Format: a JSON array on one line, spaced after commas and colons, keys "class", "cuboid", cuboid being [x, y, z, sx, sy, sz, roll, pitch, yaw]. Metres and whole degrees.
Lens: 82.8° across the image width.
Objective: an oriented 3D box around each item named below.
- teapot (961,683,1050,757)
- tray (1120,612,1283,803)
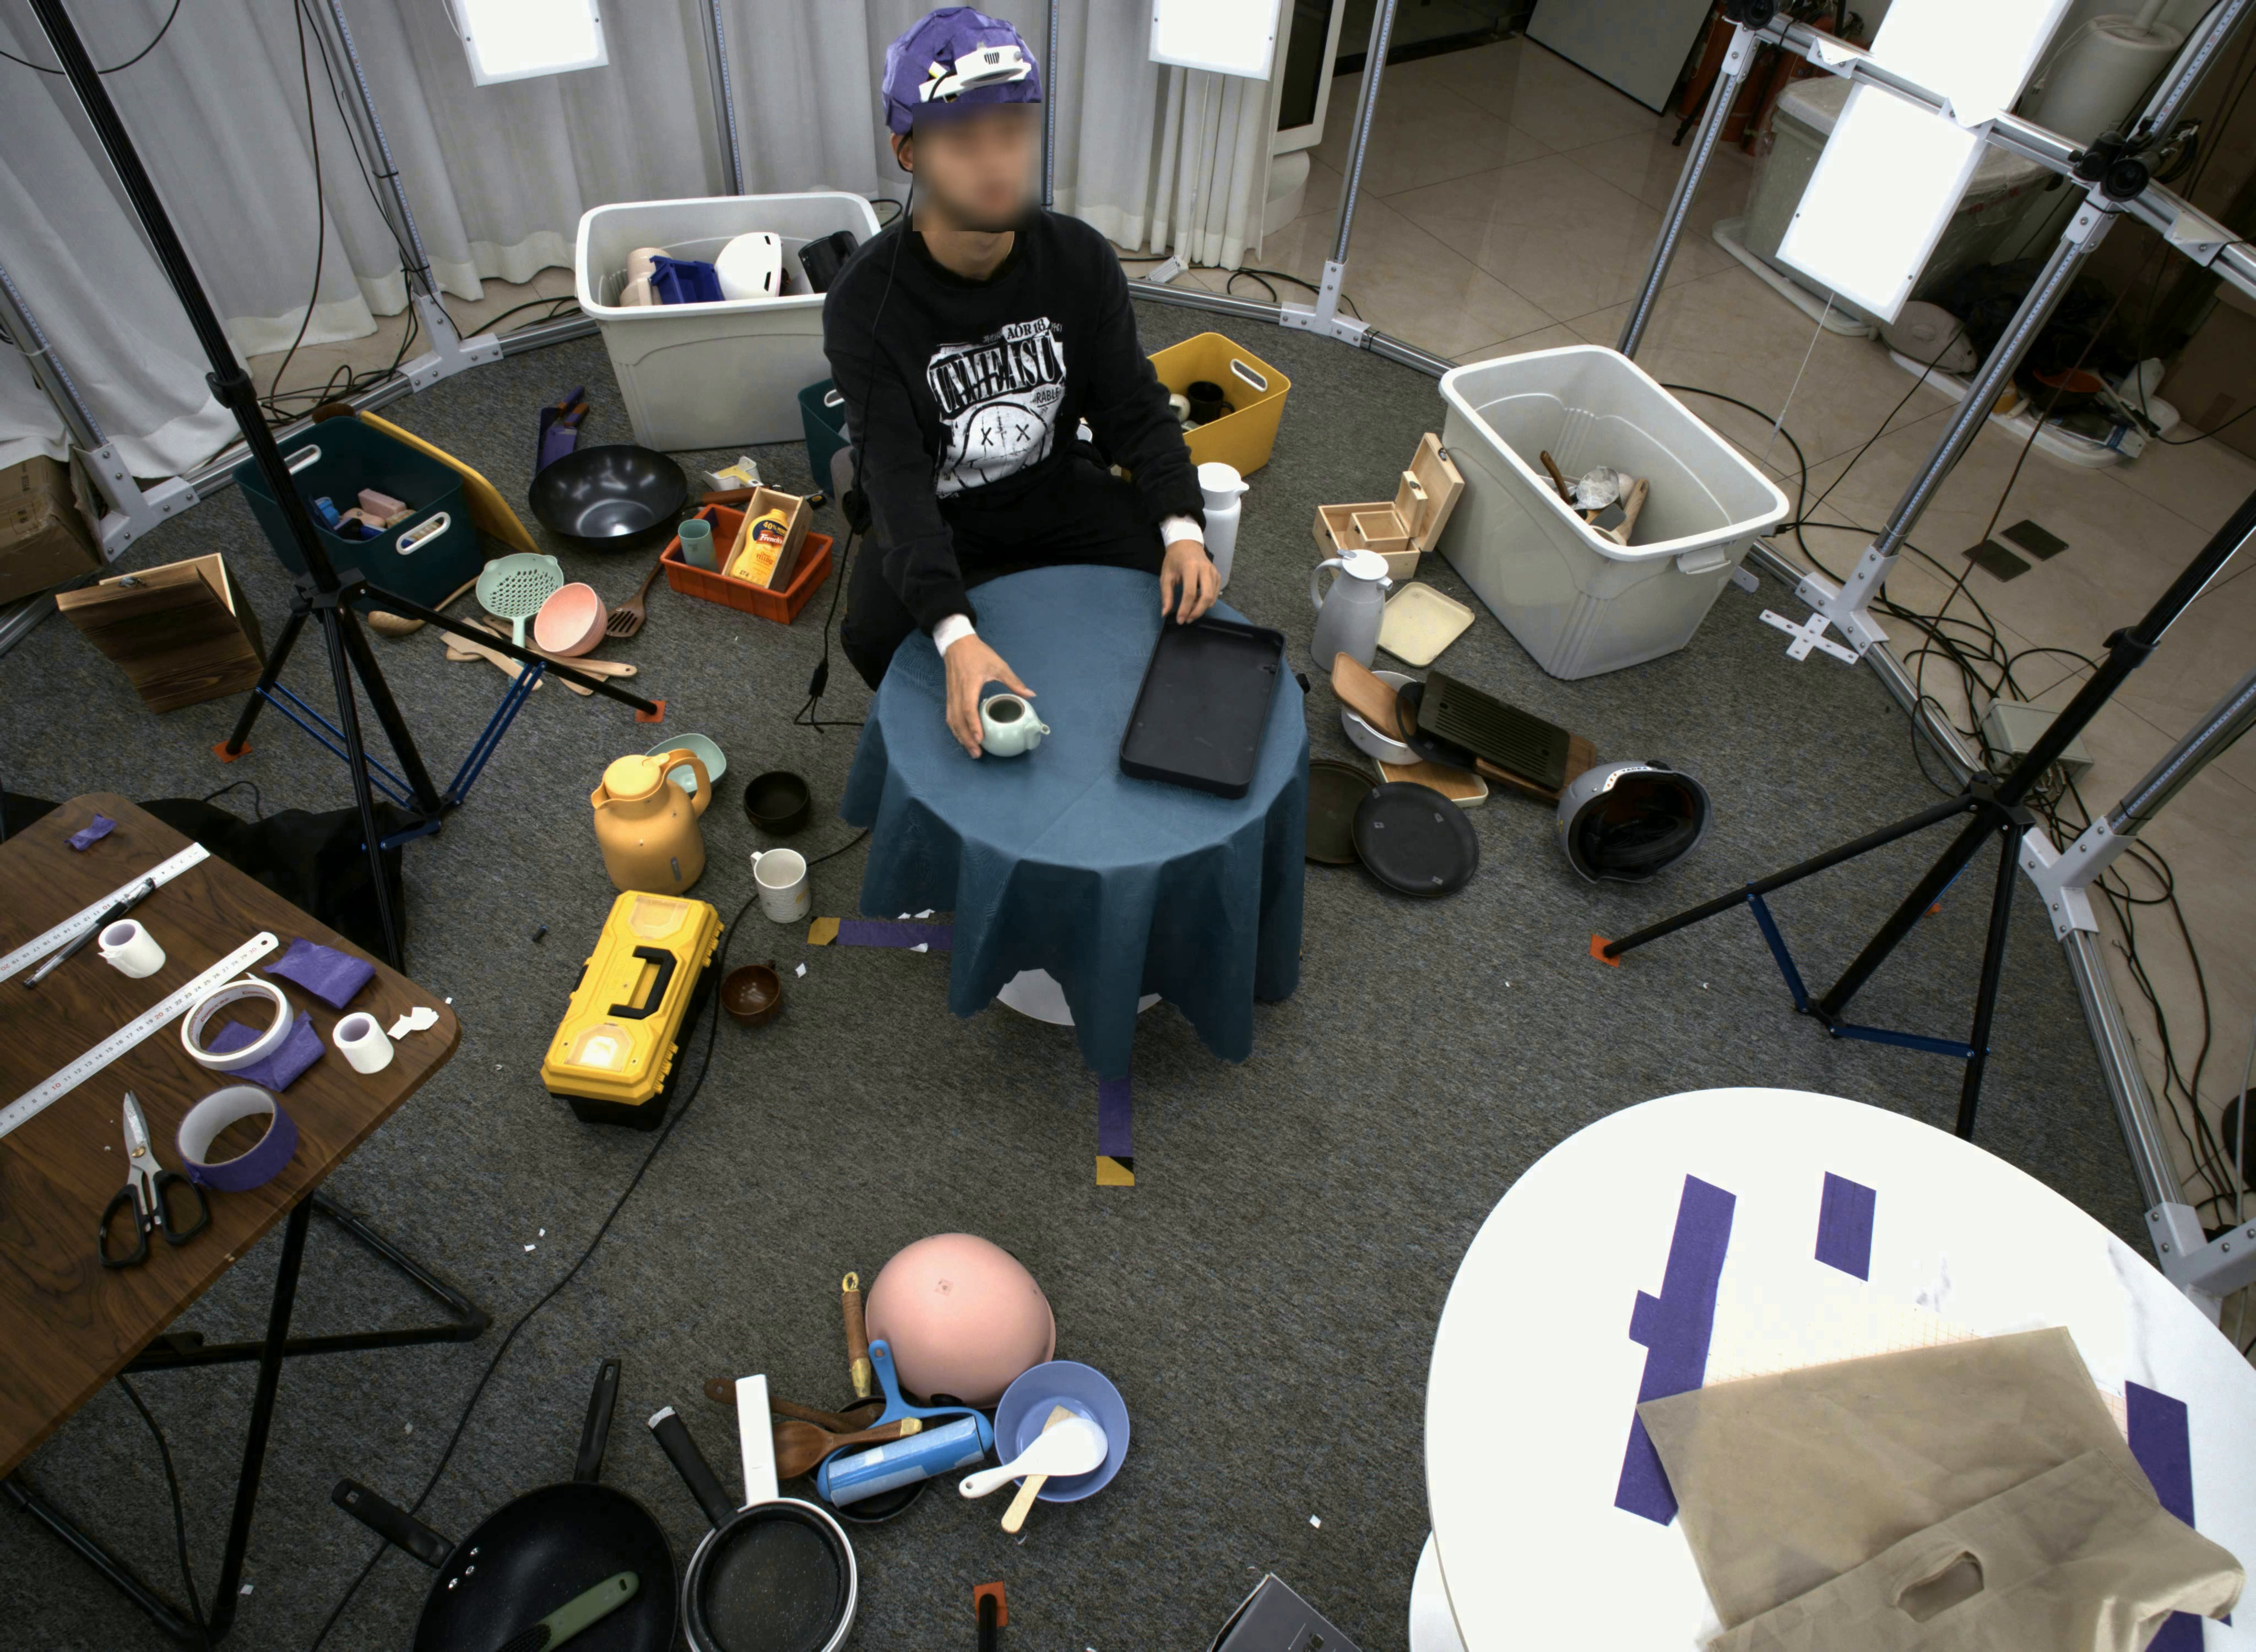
[{"class": "teapot", "cuboid": [-0.165, -0.137, 1.731, 0.145, 0.073, 0.089, 31, 54, 19]}, {"class": "tray", "cuboid": [0.107, -0.173, 1.802, 0.184, 0.036, 0.325, 11, 50, 6]}]
